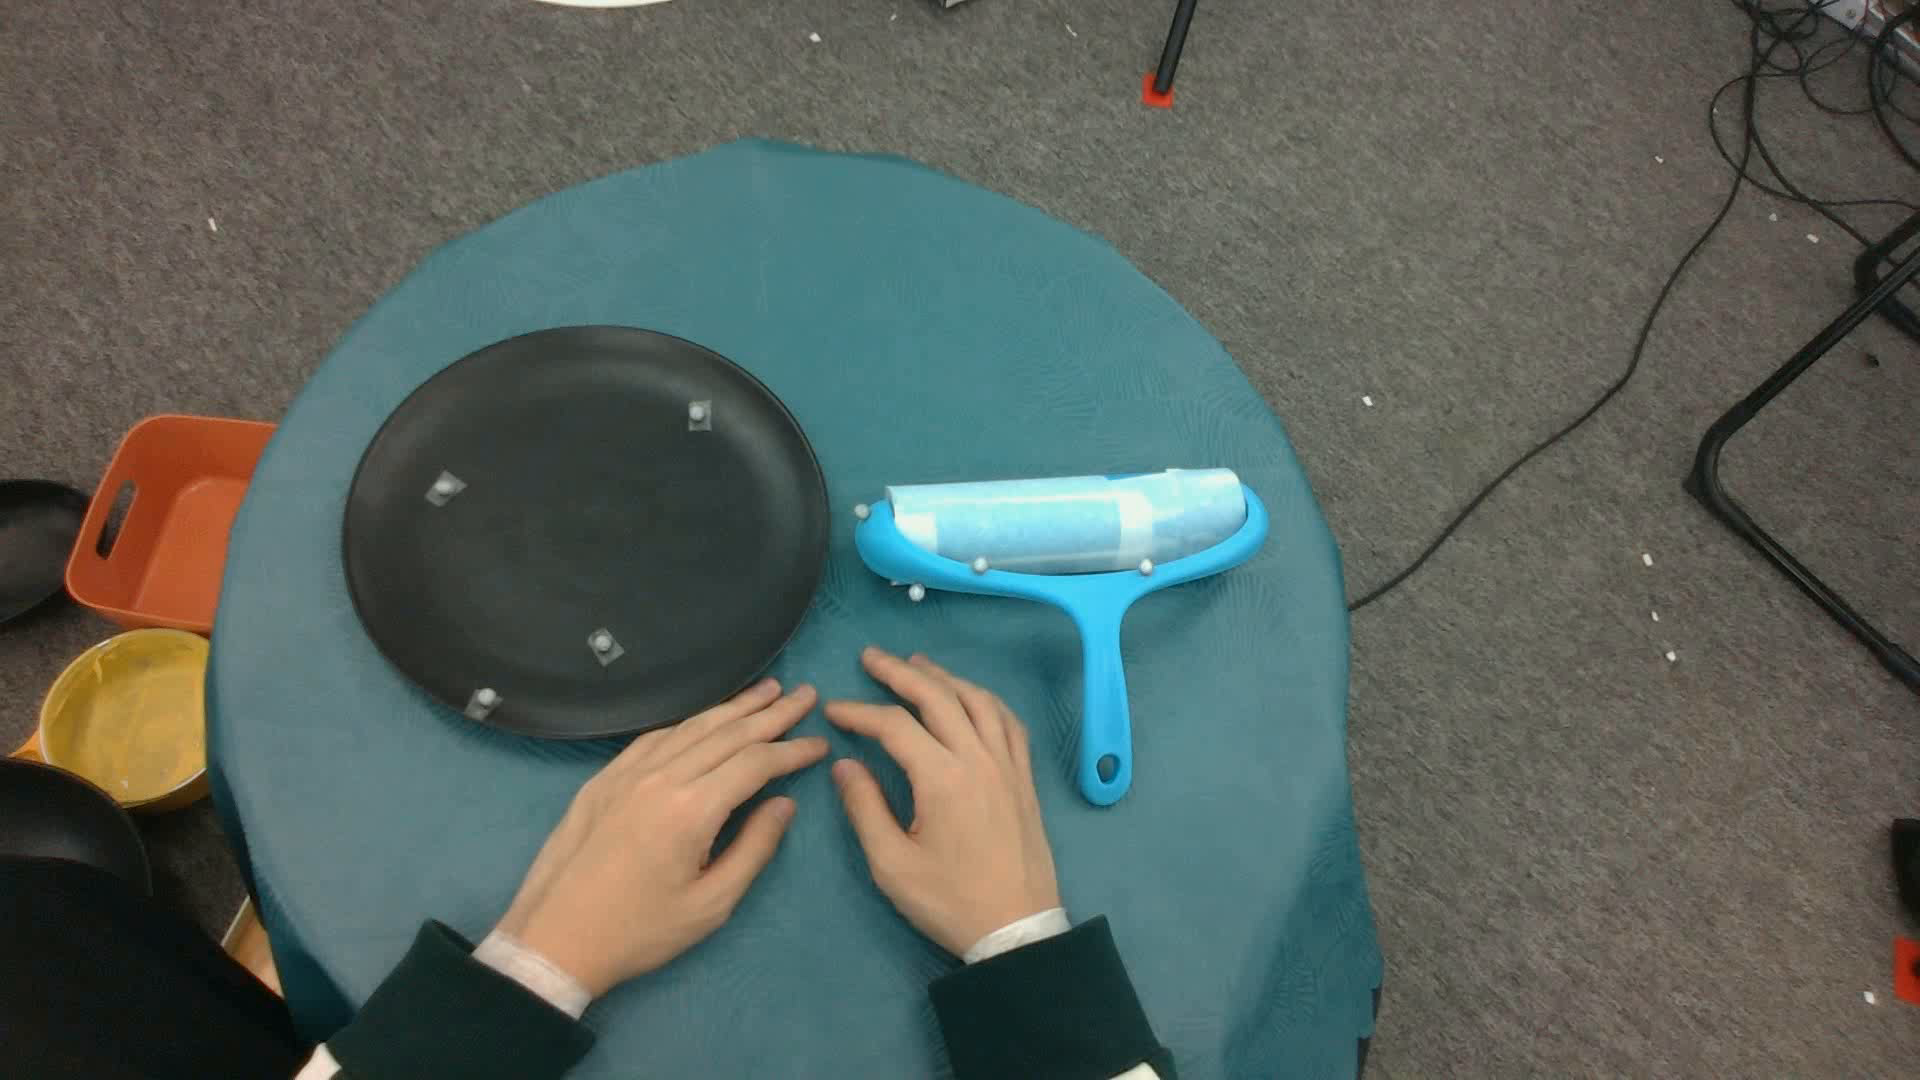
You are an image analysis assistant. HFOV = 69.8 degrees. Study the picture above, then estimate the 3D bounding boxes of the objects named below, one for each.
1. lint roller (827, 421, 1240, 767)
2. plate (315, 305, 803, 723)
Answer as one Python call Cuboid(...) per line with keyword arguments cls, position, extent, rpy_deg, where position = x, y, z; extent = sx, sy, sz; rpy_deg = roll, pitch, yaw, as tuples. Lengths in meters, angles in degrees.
Cuboid(cls="lint roller", position=(0.055, 0.024, 0.727), extent=(0.229, 0.067, 0.181), rpy_deg=(-8, 66, -15))
Cuboid(cls="plate", position=(-0.205, -0.017, 0.720), extent=(0.244, 0.023, 0.245), rpy_deg=(4, 63, -8))
